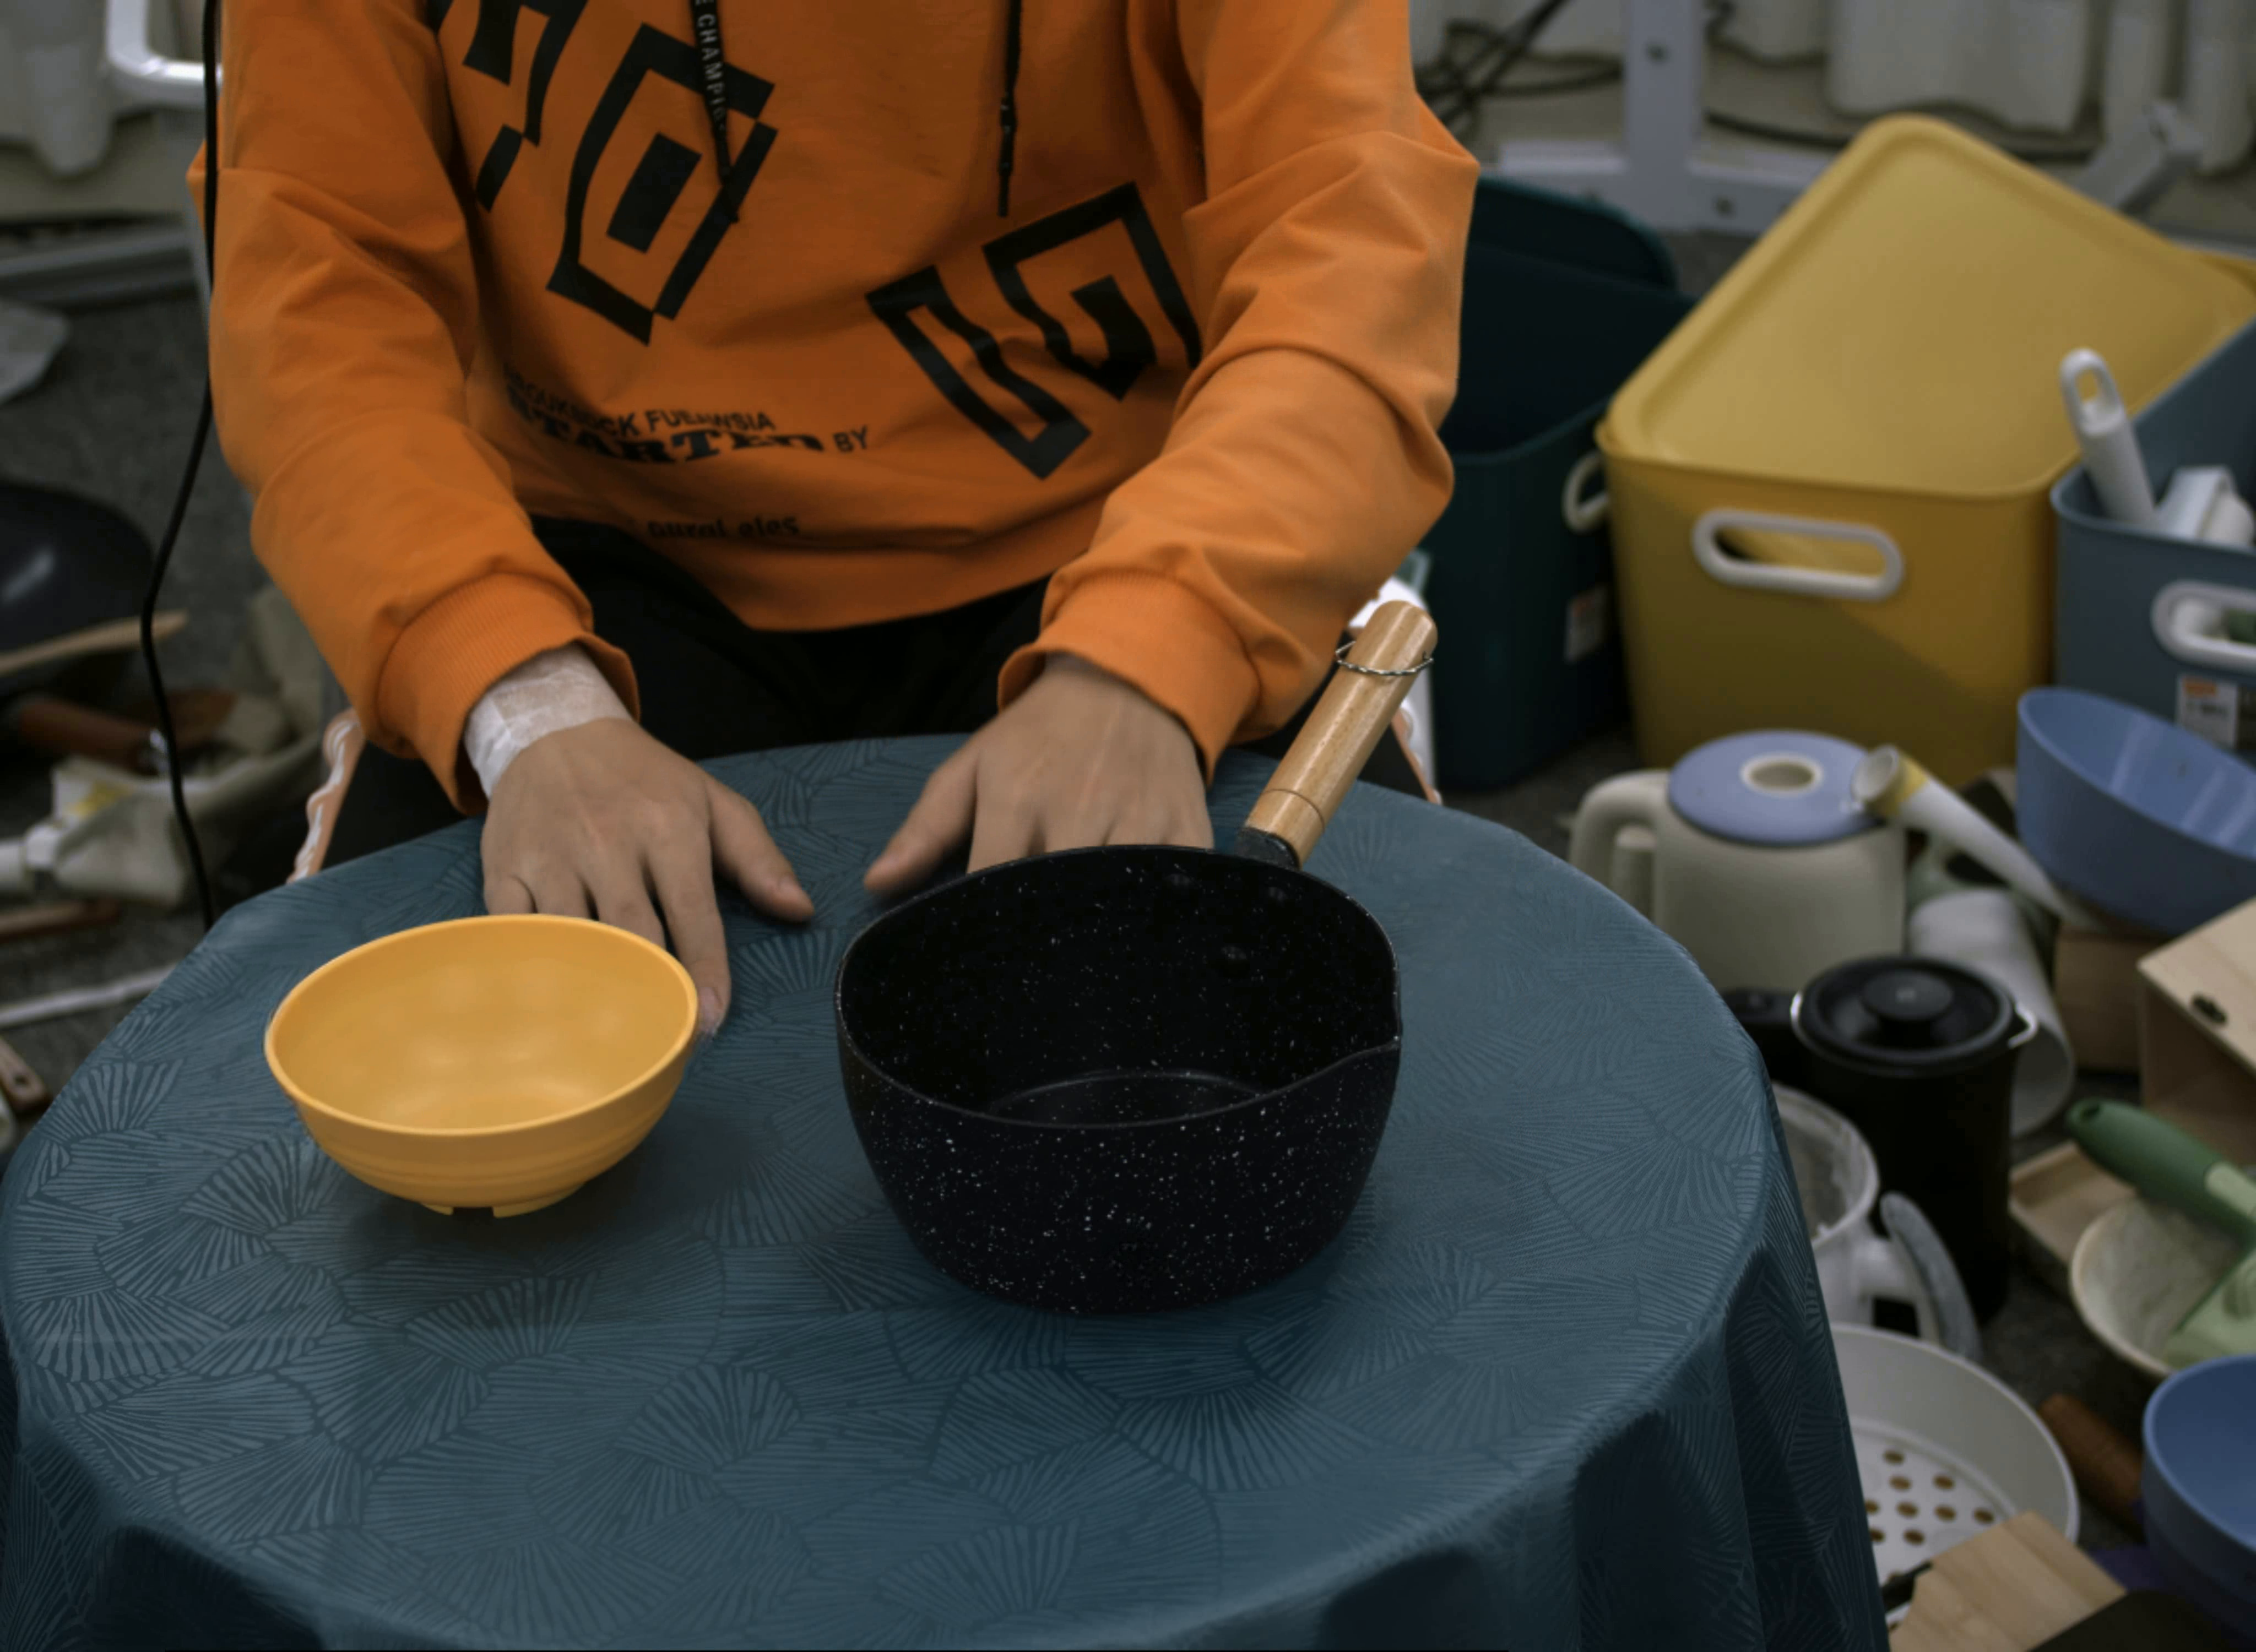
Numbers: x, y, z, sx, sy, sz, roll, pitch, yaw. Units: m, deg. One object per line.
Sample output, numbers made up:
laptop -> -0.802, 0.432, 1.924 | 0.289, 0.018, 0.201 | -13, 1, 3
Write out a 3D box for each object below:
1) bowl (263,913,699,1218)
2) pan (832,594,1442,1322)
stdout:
bowl -> -0.214, 0.090, 1.882 | 0.144, 0.059, 0.147 | -1, 27, 1
pan -> 0.031, 0.041, 1.900 | 0.206, 0.107, 0.349 | 8, 31, 23
